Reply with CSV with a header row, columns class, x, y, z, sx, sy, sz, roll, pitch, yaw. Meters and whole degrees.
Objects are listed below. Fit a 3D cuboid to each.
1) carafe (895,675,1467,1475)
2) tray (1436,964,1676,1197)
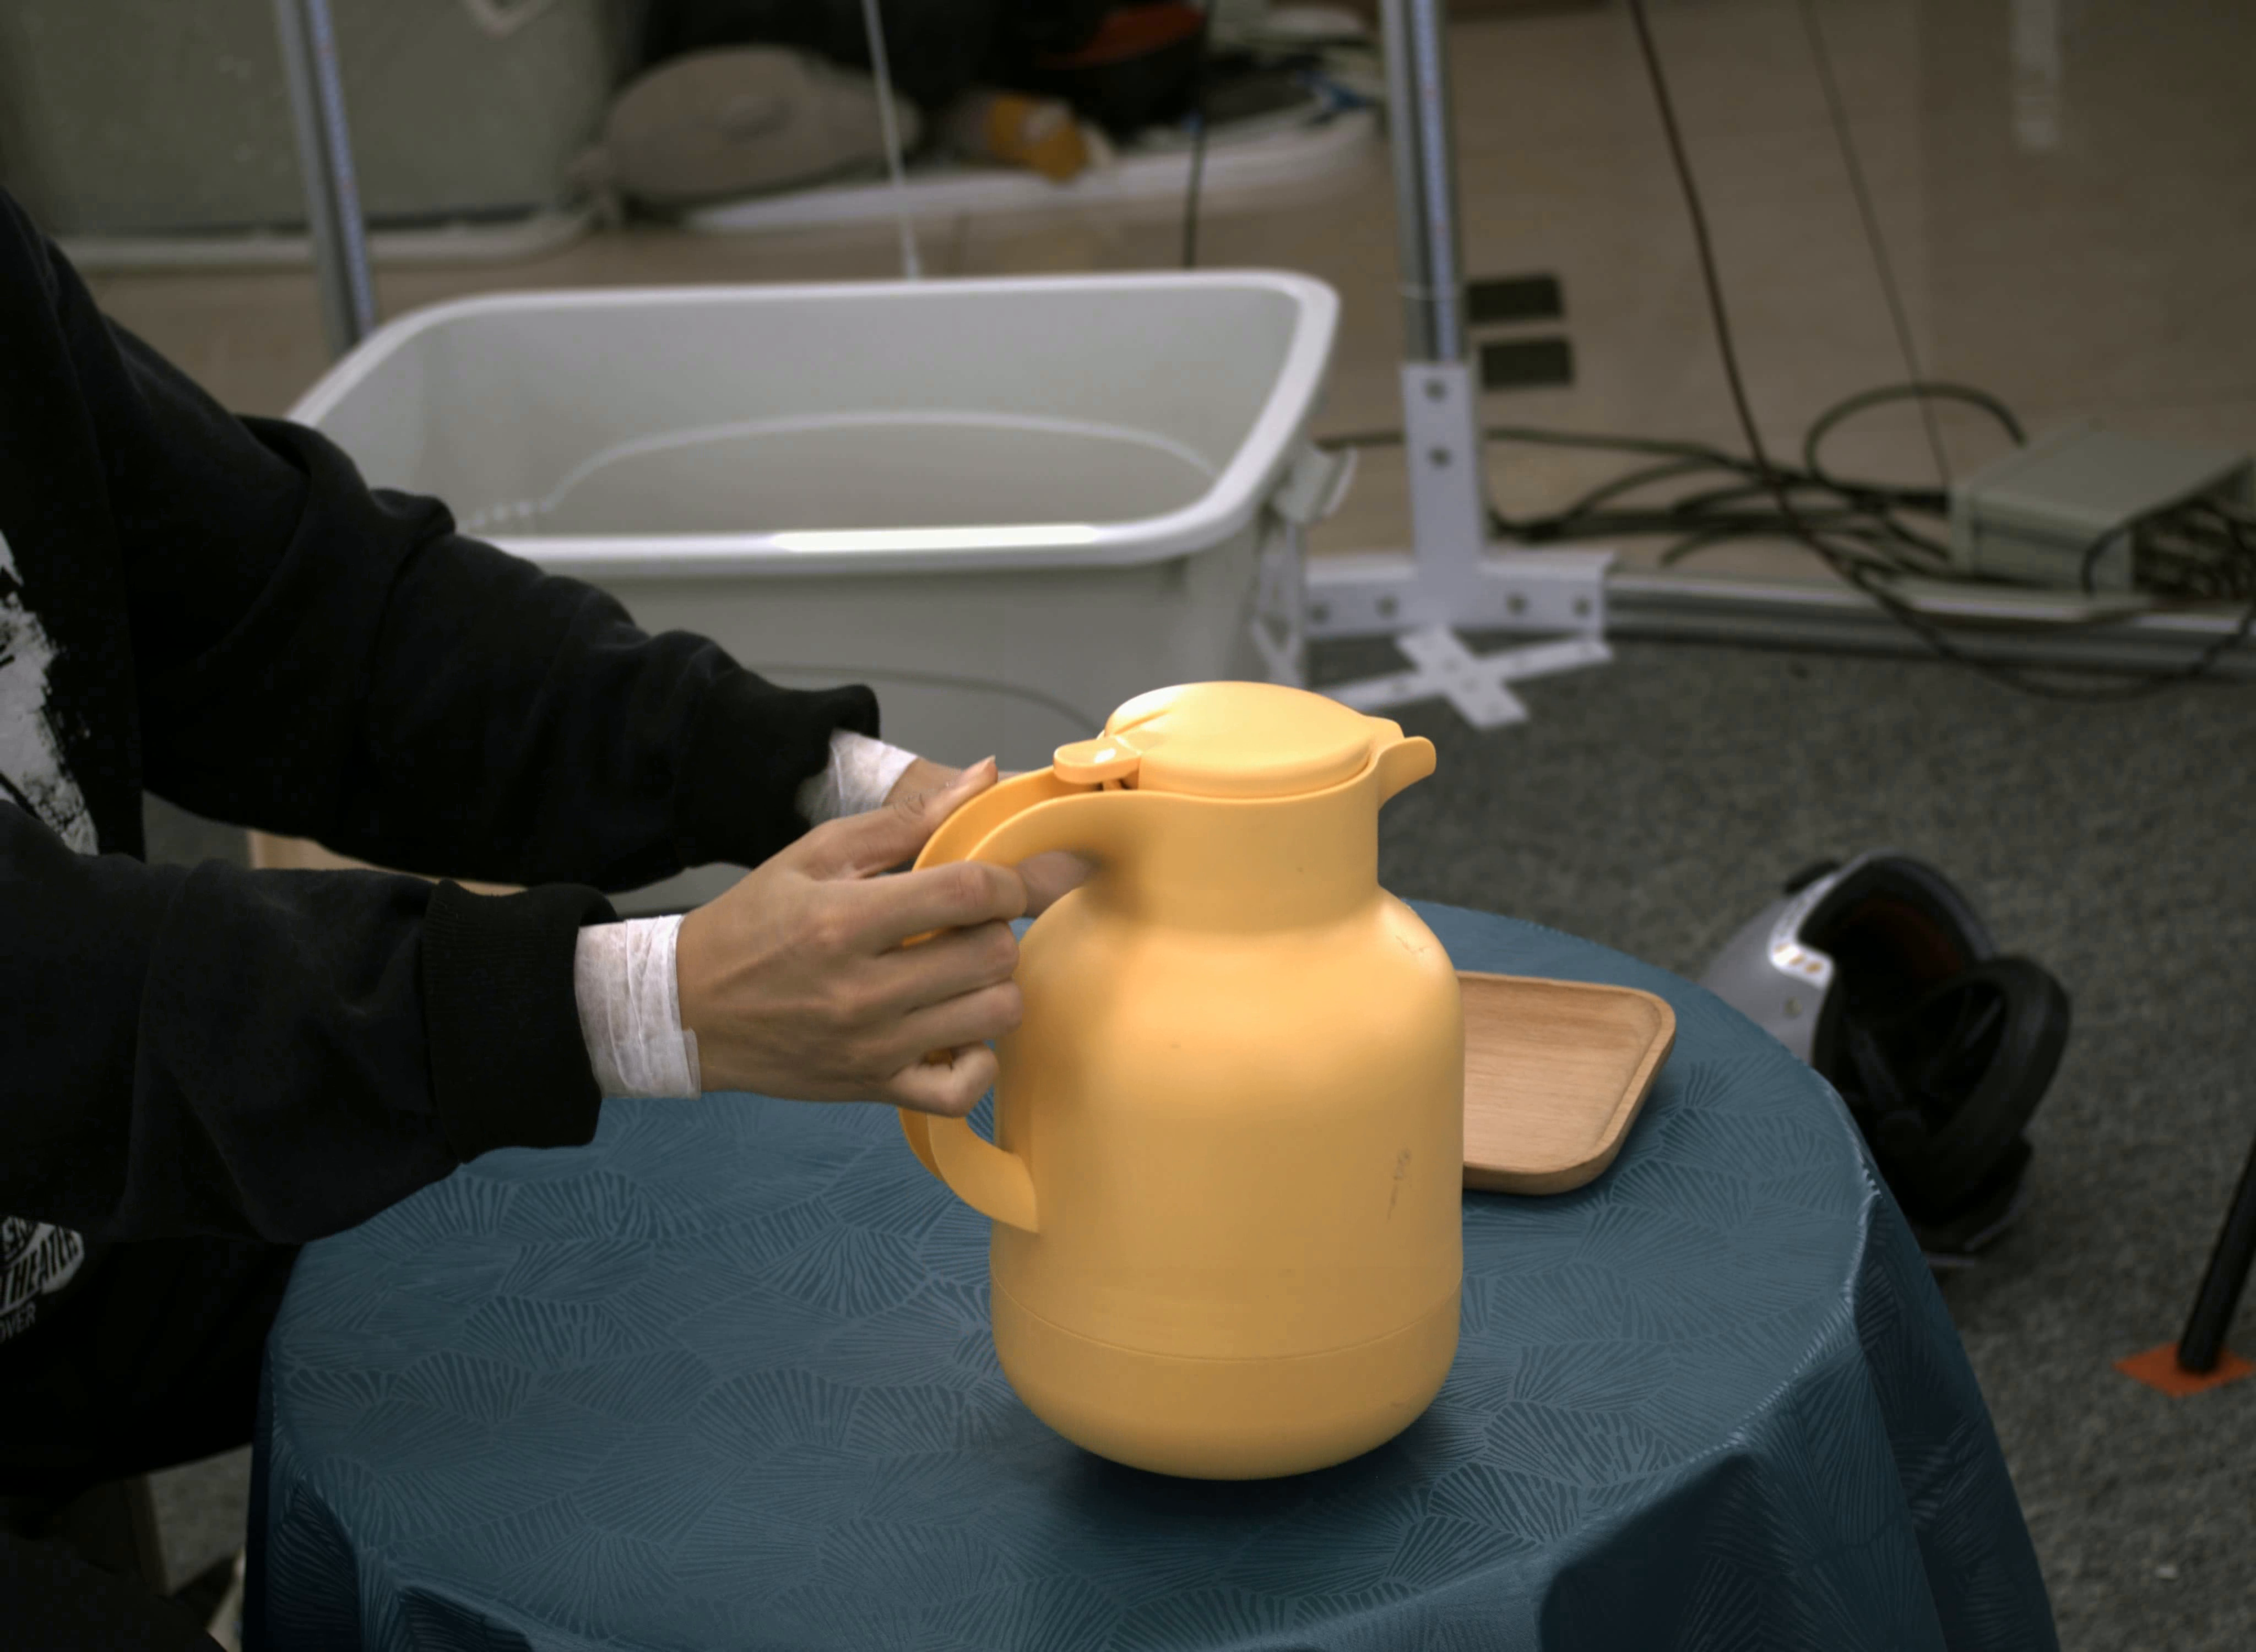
class,x,y,z,sx,sy,sz,roll,pitch,yaw
carafe,0.016,0.082,1.924,0.202,0.264,0.161,-7,21,-24
tray,0.081,0.093,2.191,0.250,0.023,0.128,5,33,25
